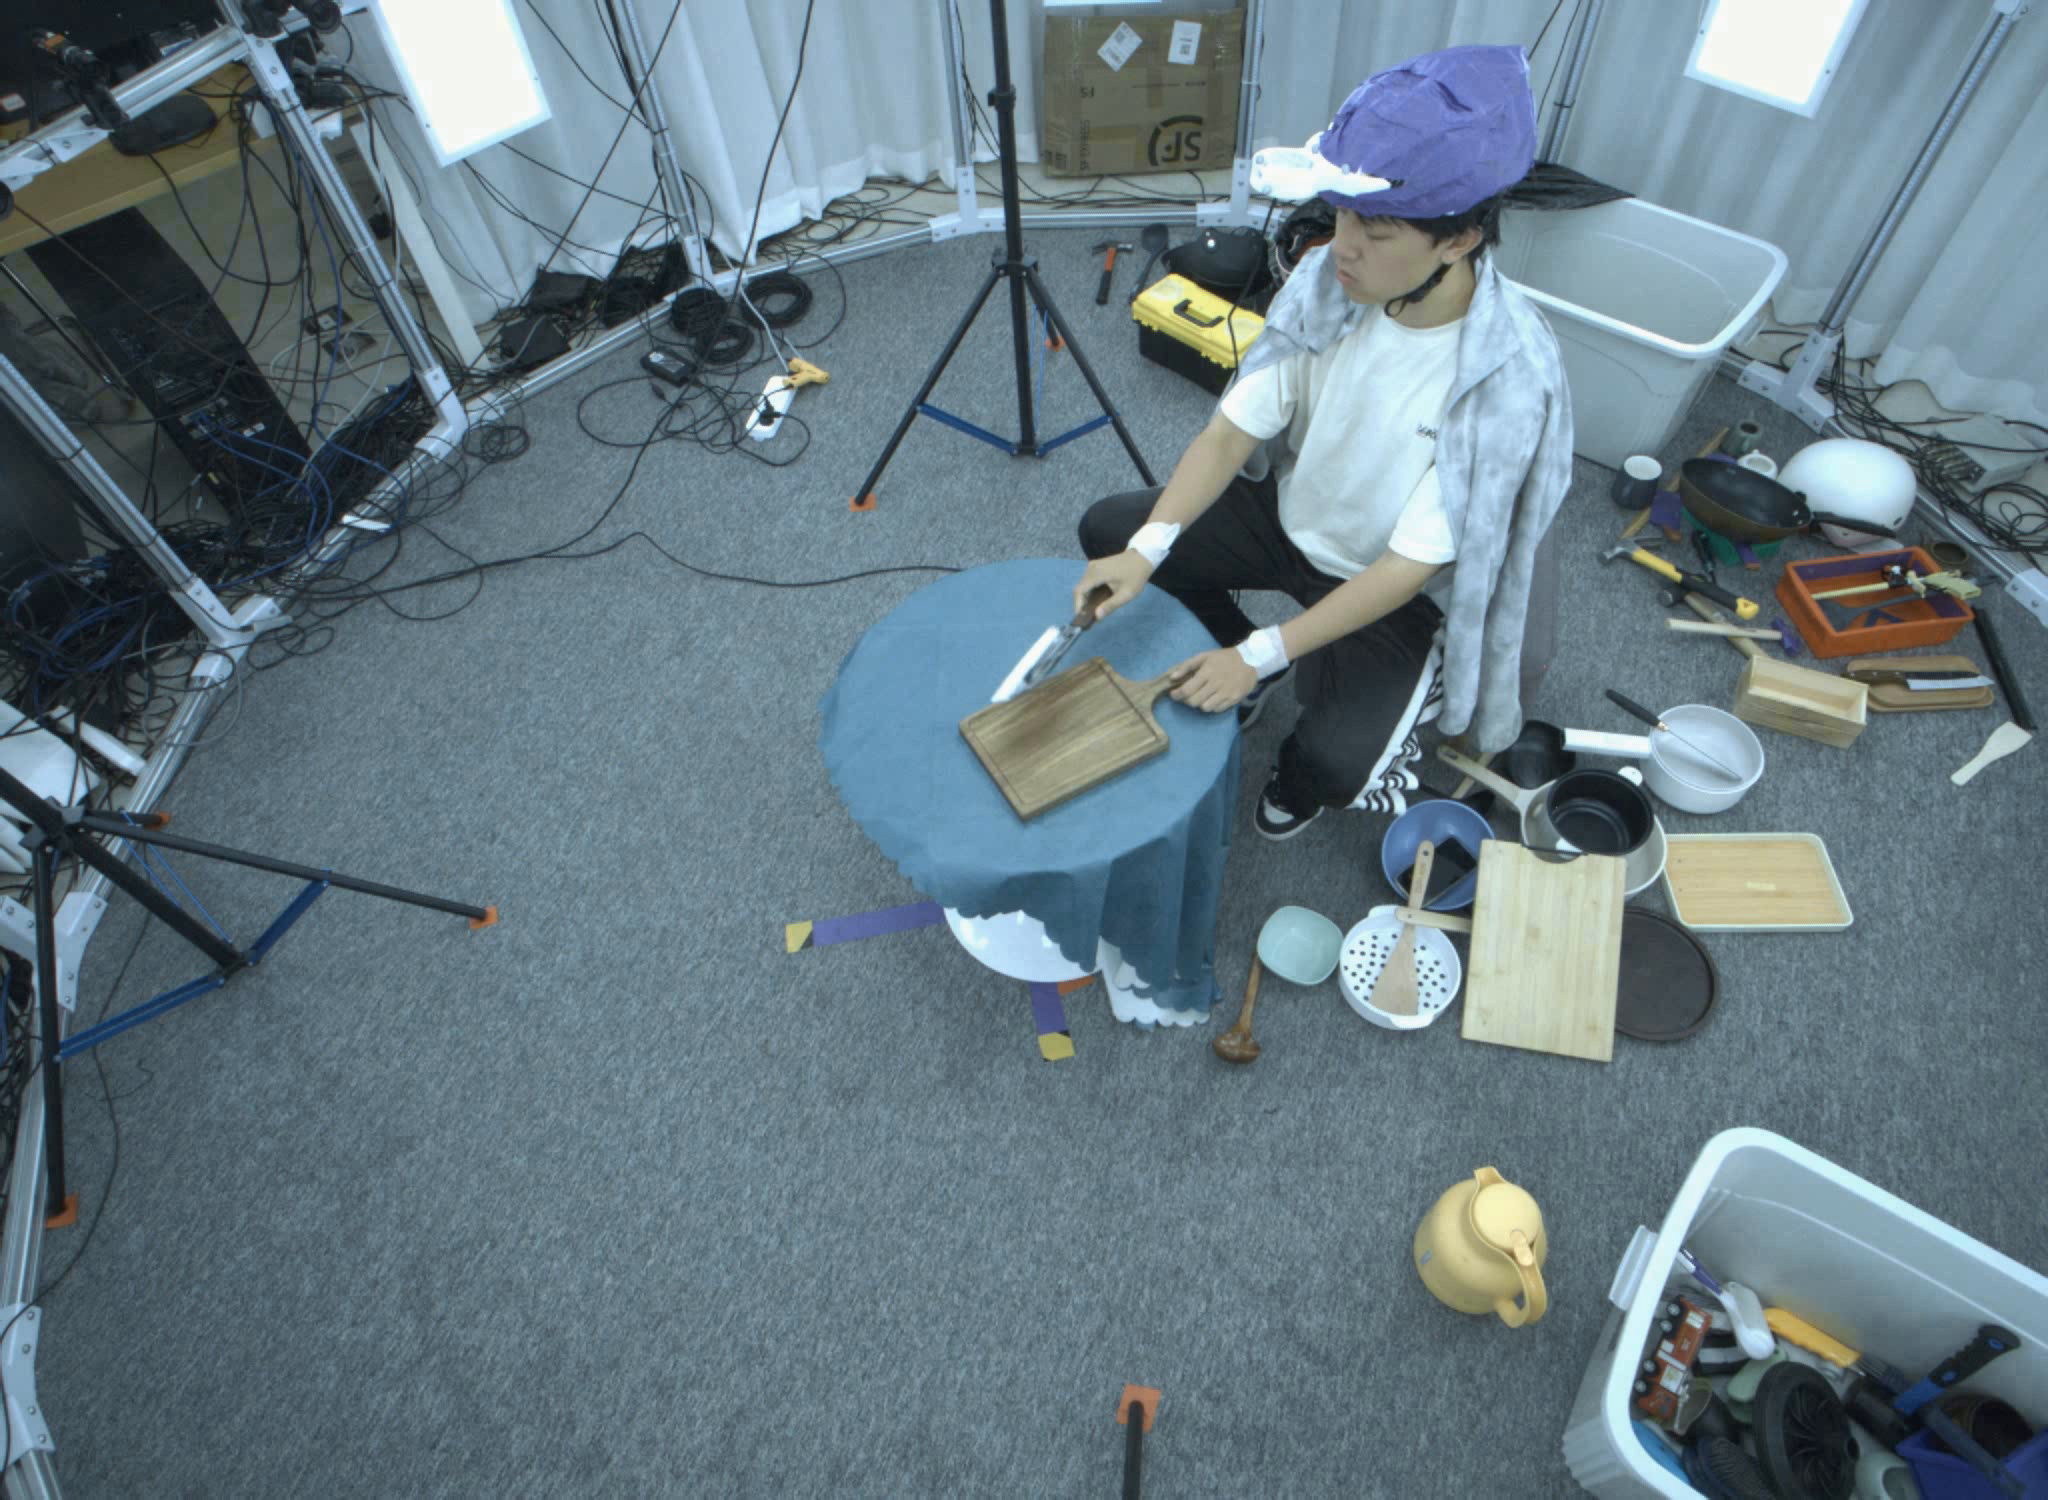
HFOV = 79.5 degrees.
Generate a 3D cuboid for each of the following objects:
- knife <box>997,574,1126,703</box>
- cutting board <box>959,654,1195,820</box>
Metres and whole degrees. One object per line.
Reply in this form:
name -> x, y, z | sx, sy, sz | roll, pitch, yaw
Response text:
knife -> 0.056, -0.163, 1.798 | 0.066, 0.024, 0.301 | 6, 46, 39
cutting board -> 0.102, -0.044, 1.805 | 0.355, 0.023, 0.197 | -26, 58, -16
